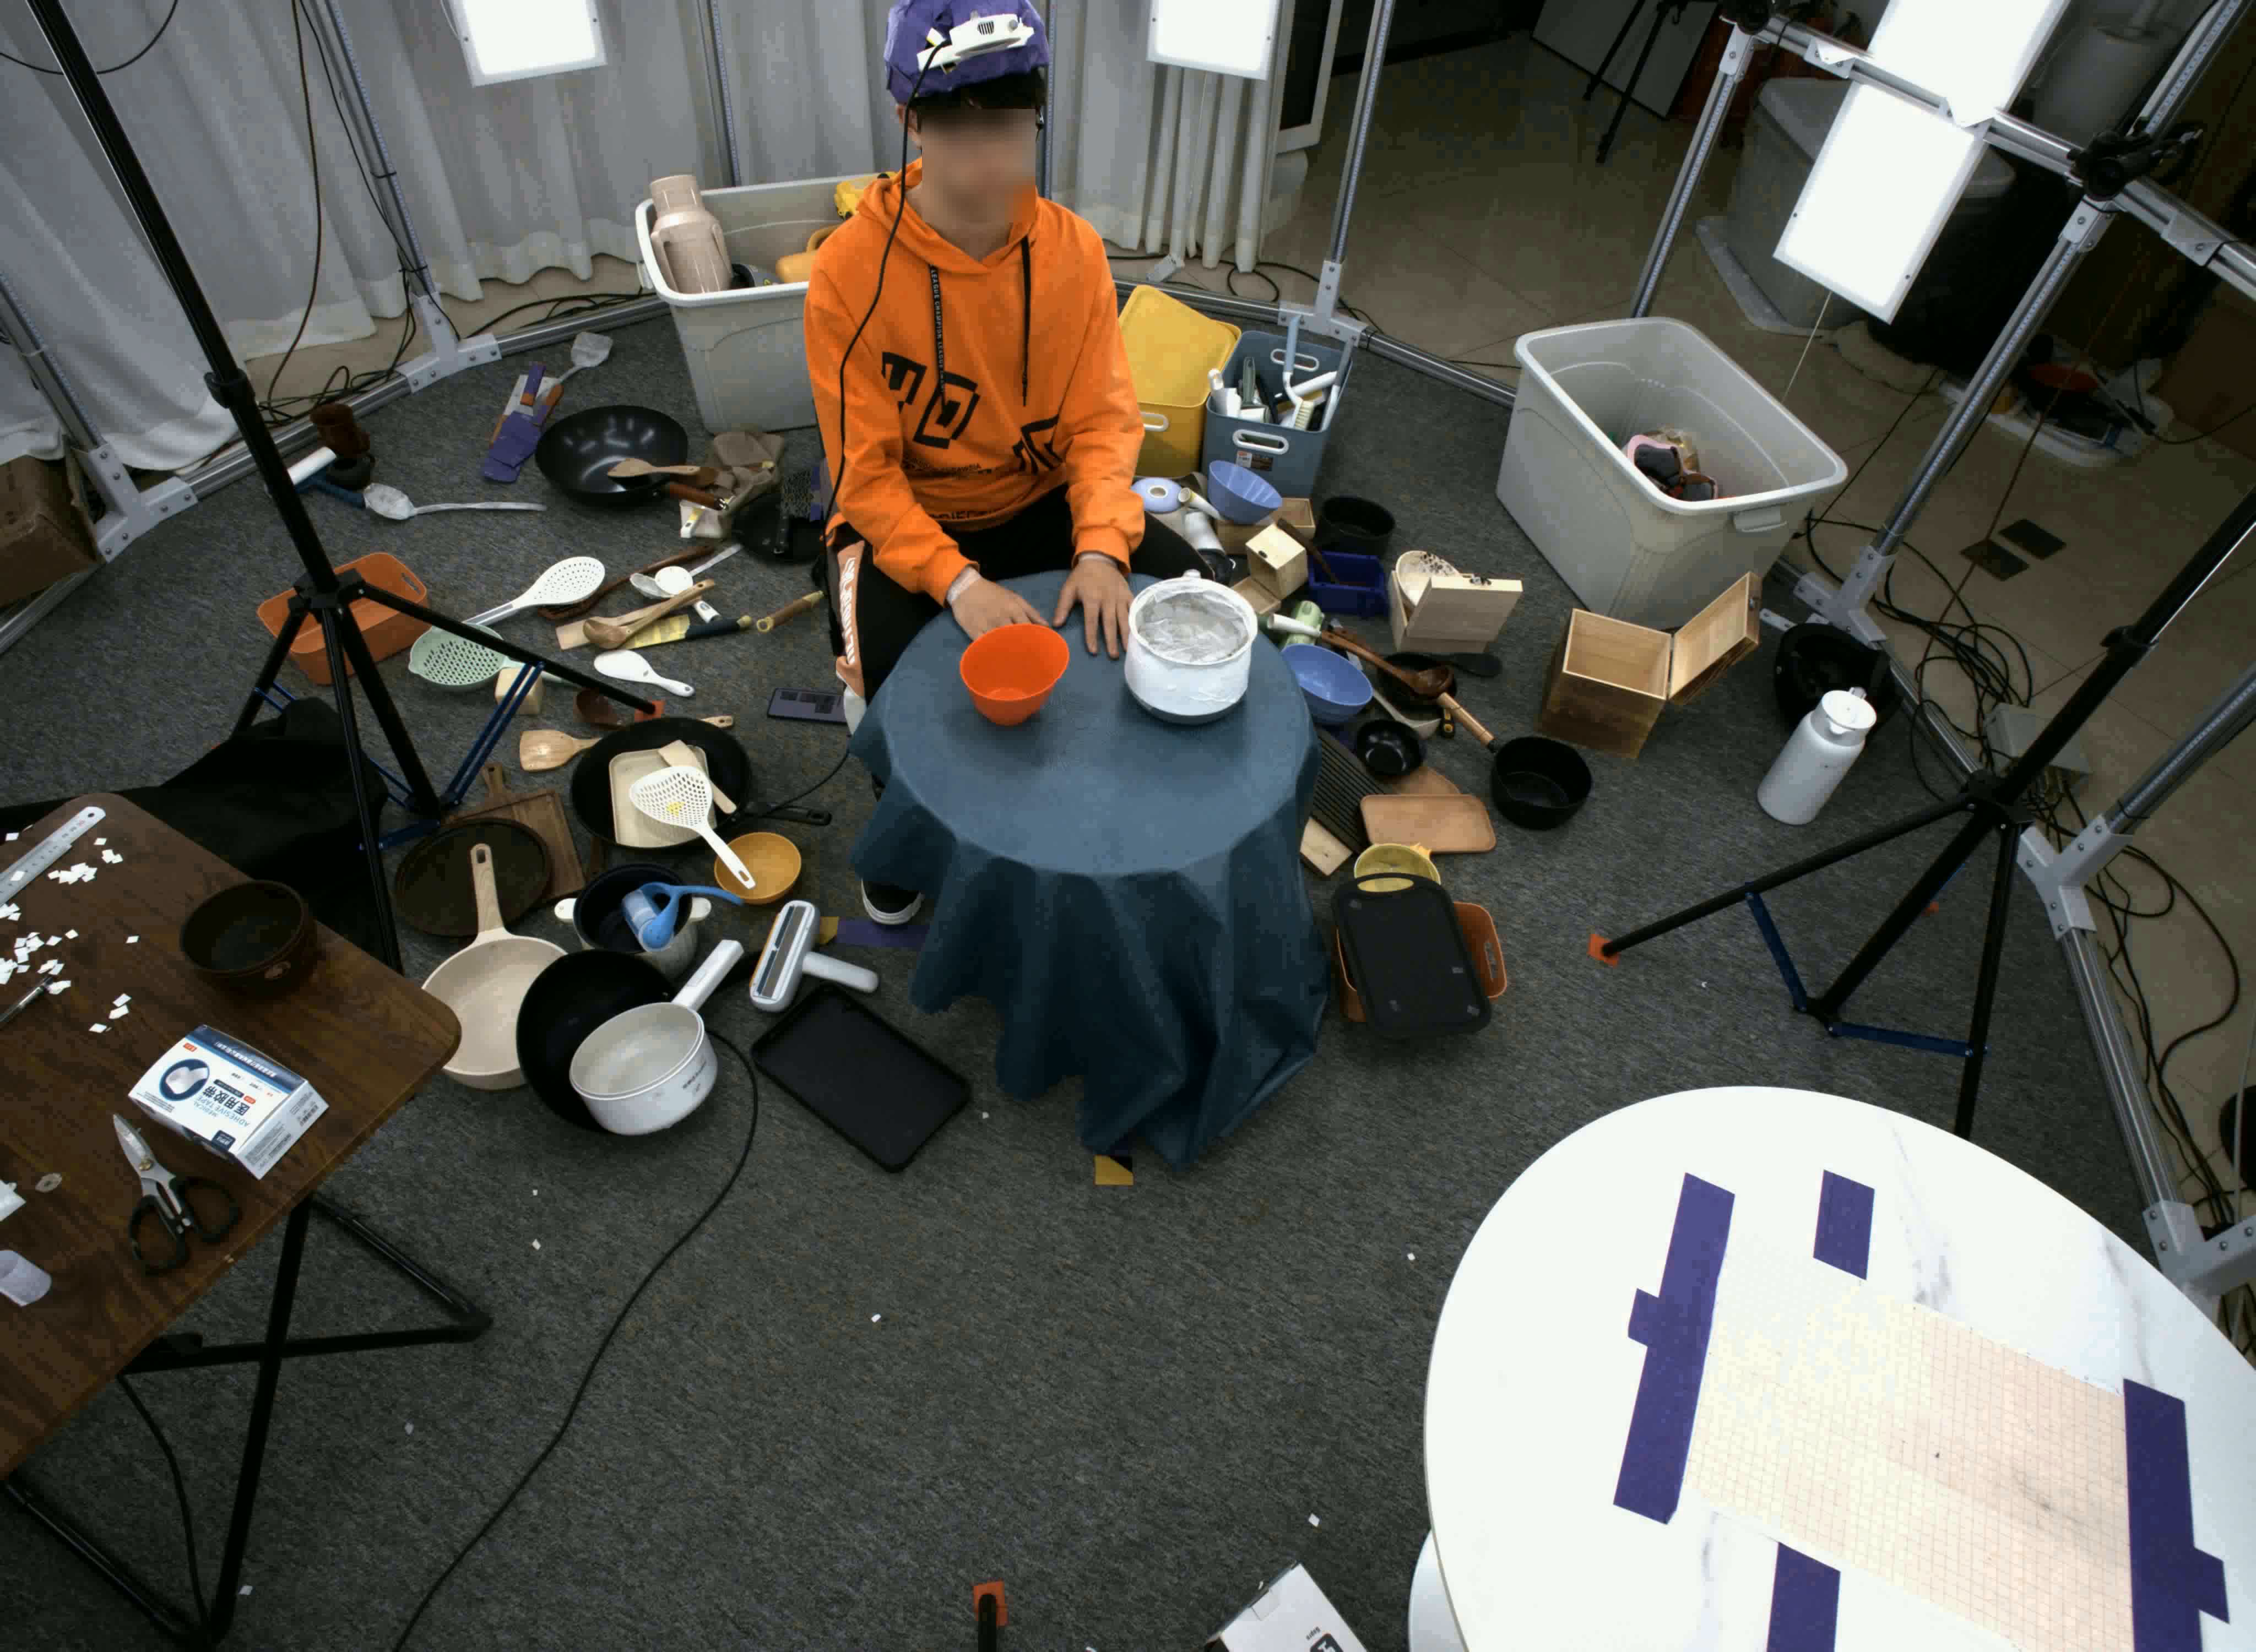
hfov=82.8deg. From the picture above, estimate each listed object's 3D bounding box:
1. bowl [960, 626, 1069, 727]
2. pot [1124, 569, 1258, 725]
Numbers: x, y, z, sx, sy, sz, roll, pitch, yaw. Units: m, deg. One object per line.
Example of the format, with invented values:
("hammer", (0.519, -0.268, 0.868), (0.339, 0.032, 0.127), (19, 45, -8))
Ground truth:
("bowl", (-0.155, -0.194, 1.765), (0.148, 0.102, 0.152), (1, 49, -1))
("pot", (0.085, -0.262, 1.813), (0.178, 0.133, 0.239), (3, 49, -2))
